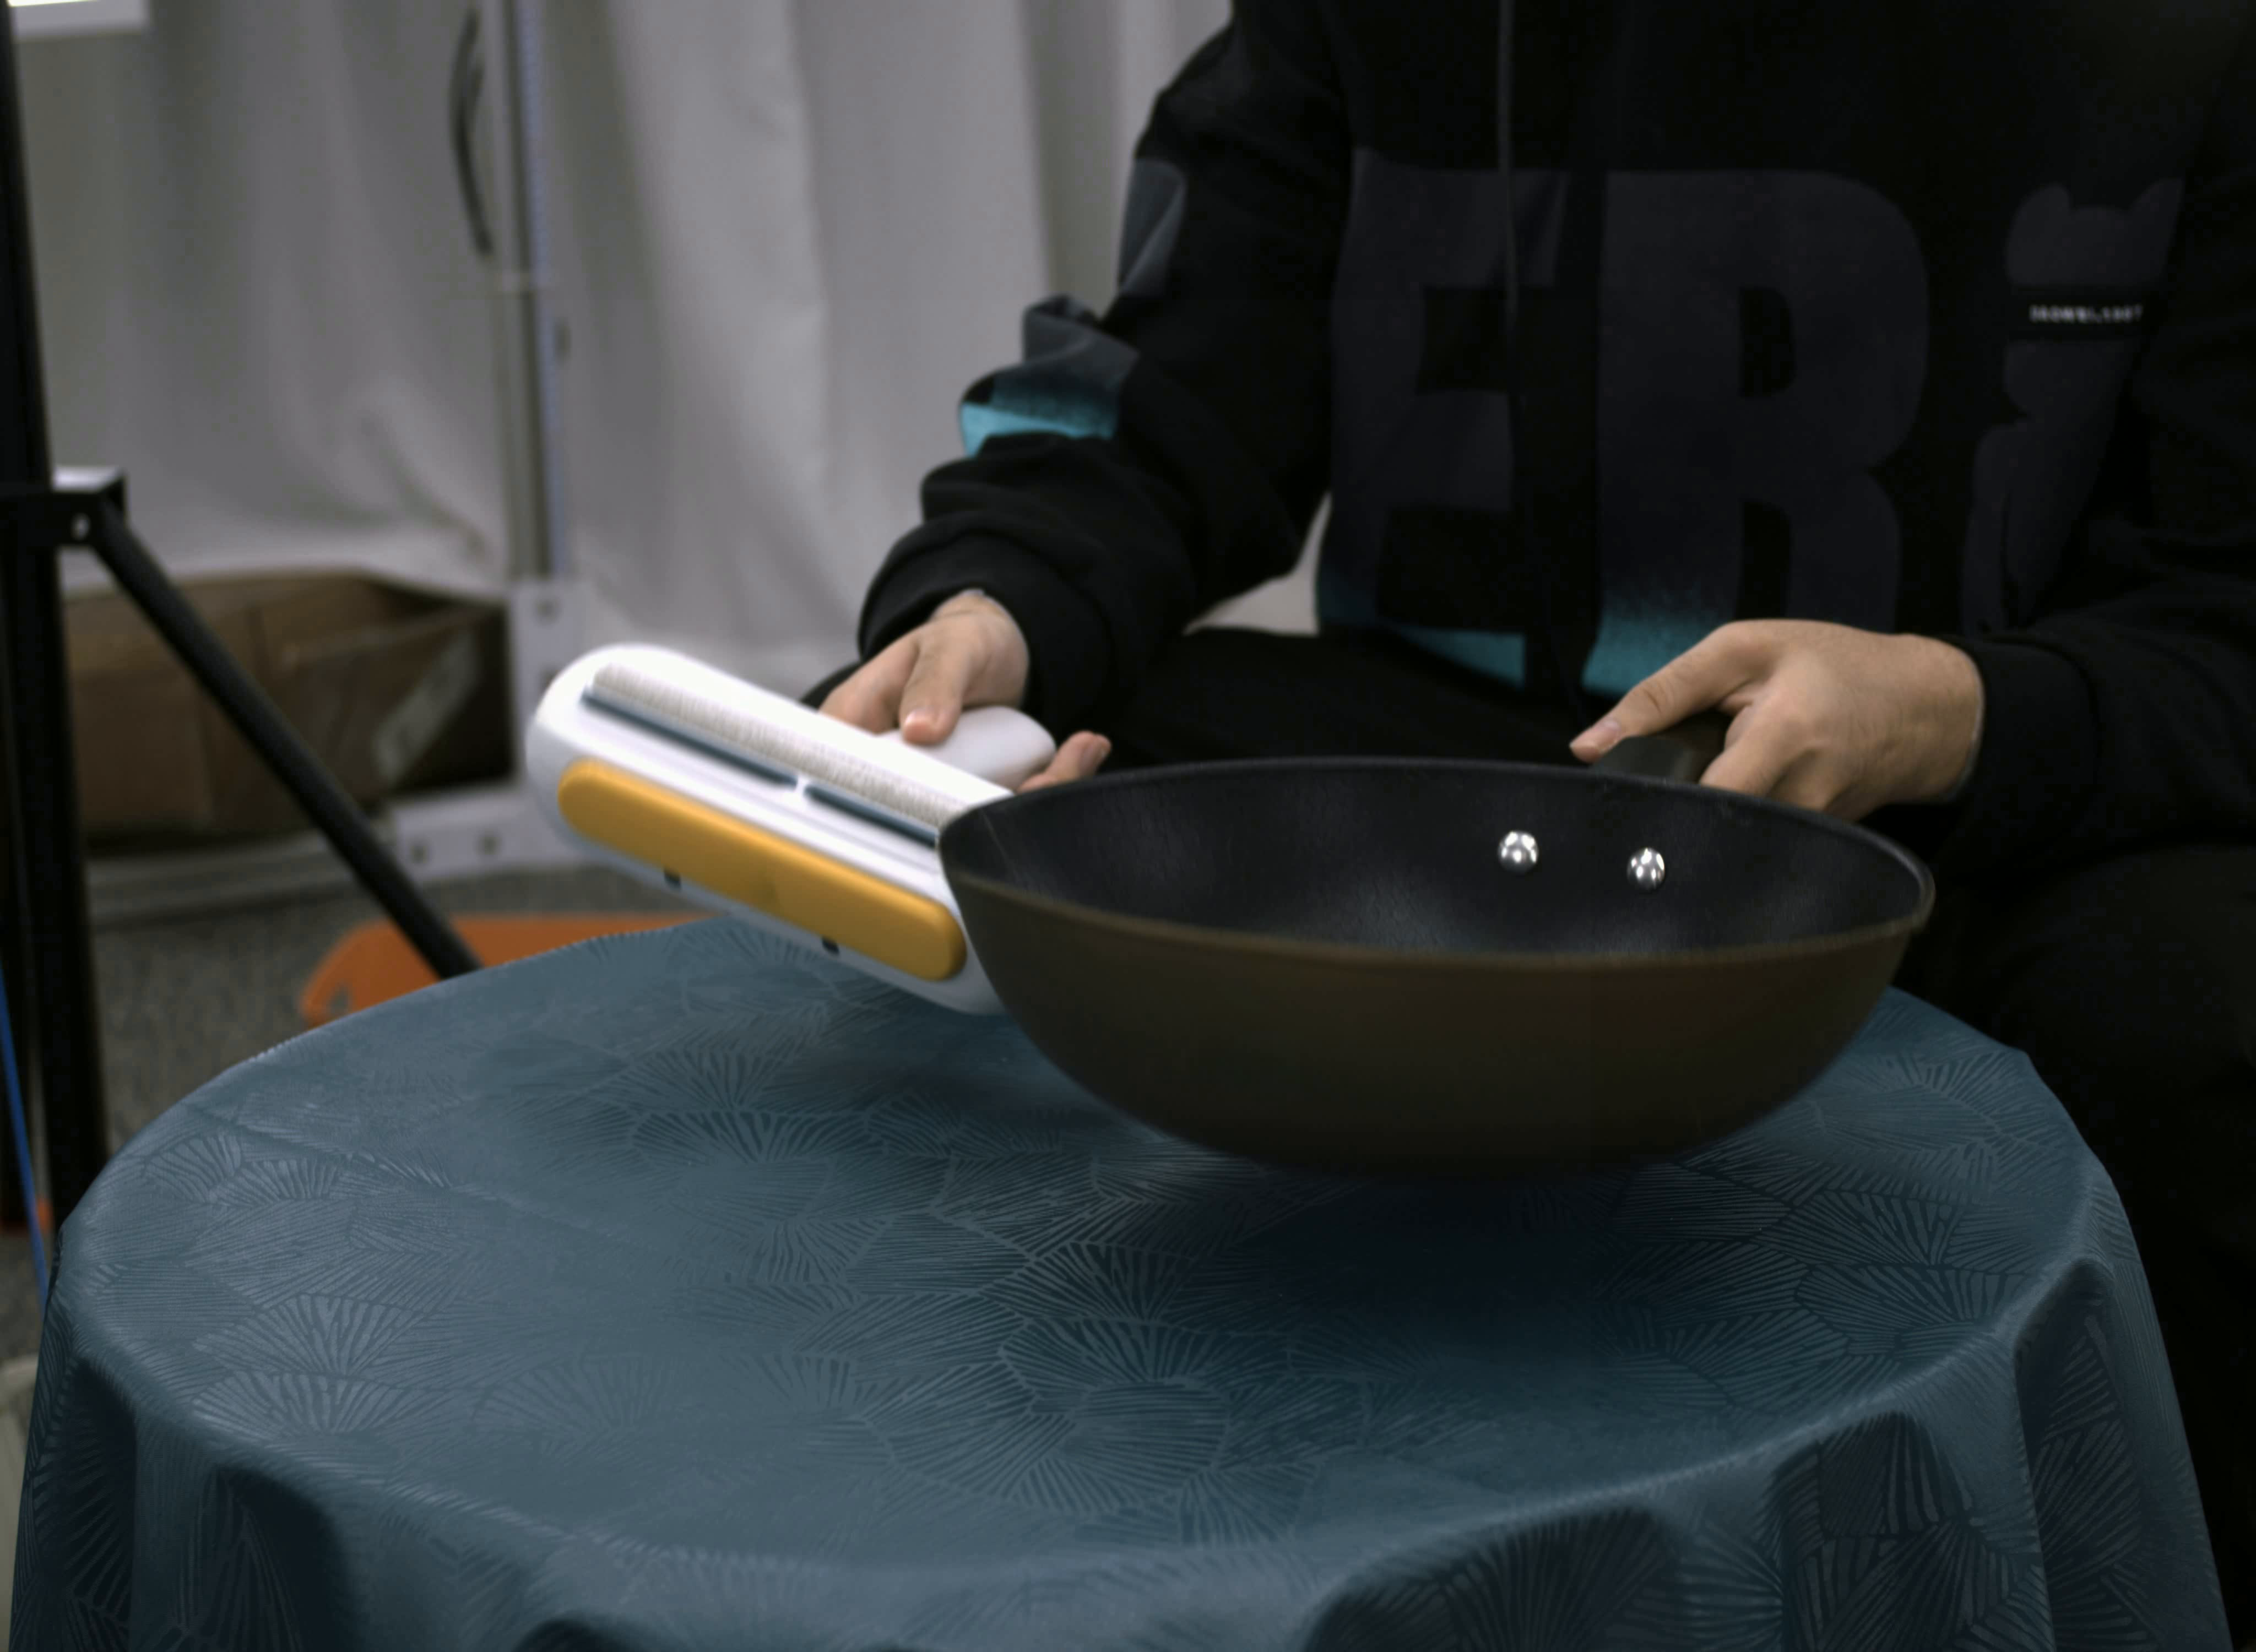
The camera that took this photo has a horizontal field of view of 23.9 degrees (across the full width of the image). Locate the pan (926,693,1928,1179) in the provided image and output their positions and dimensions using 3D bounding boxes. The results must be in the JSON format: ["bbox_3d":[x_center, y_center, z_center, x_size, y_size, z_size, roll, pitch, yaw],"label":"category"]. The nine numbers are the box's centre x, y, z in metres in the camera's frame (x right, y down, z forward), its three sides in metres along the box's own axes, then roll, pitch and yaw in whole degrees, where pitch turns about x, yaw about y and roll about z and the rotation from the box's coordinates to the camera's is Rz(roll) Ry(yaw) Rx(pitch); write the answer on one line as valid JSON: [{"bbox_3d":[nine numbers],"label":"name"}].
[{"bbox_3d":[0.120,0.028,1.583,0.292,0.087,0.455,7,12,25],"label":"pan"}]

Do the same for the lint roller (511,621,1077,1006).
[{"bbox_3d":[-0.076,-0.017,1.711,0.196,0.074,0.189,22,29,25],"label":"lint roller"}]
